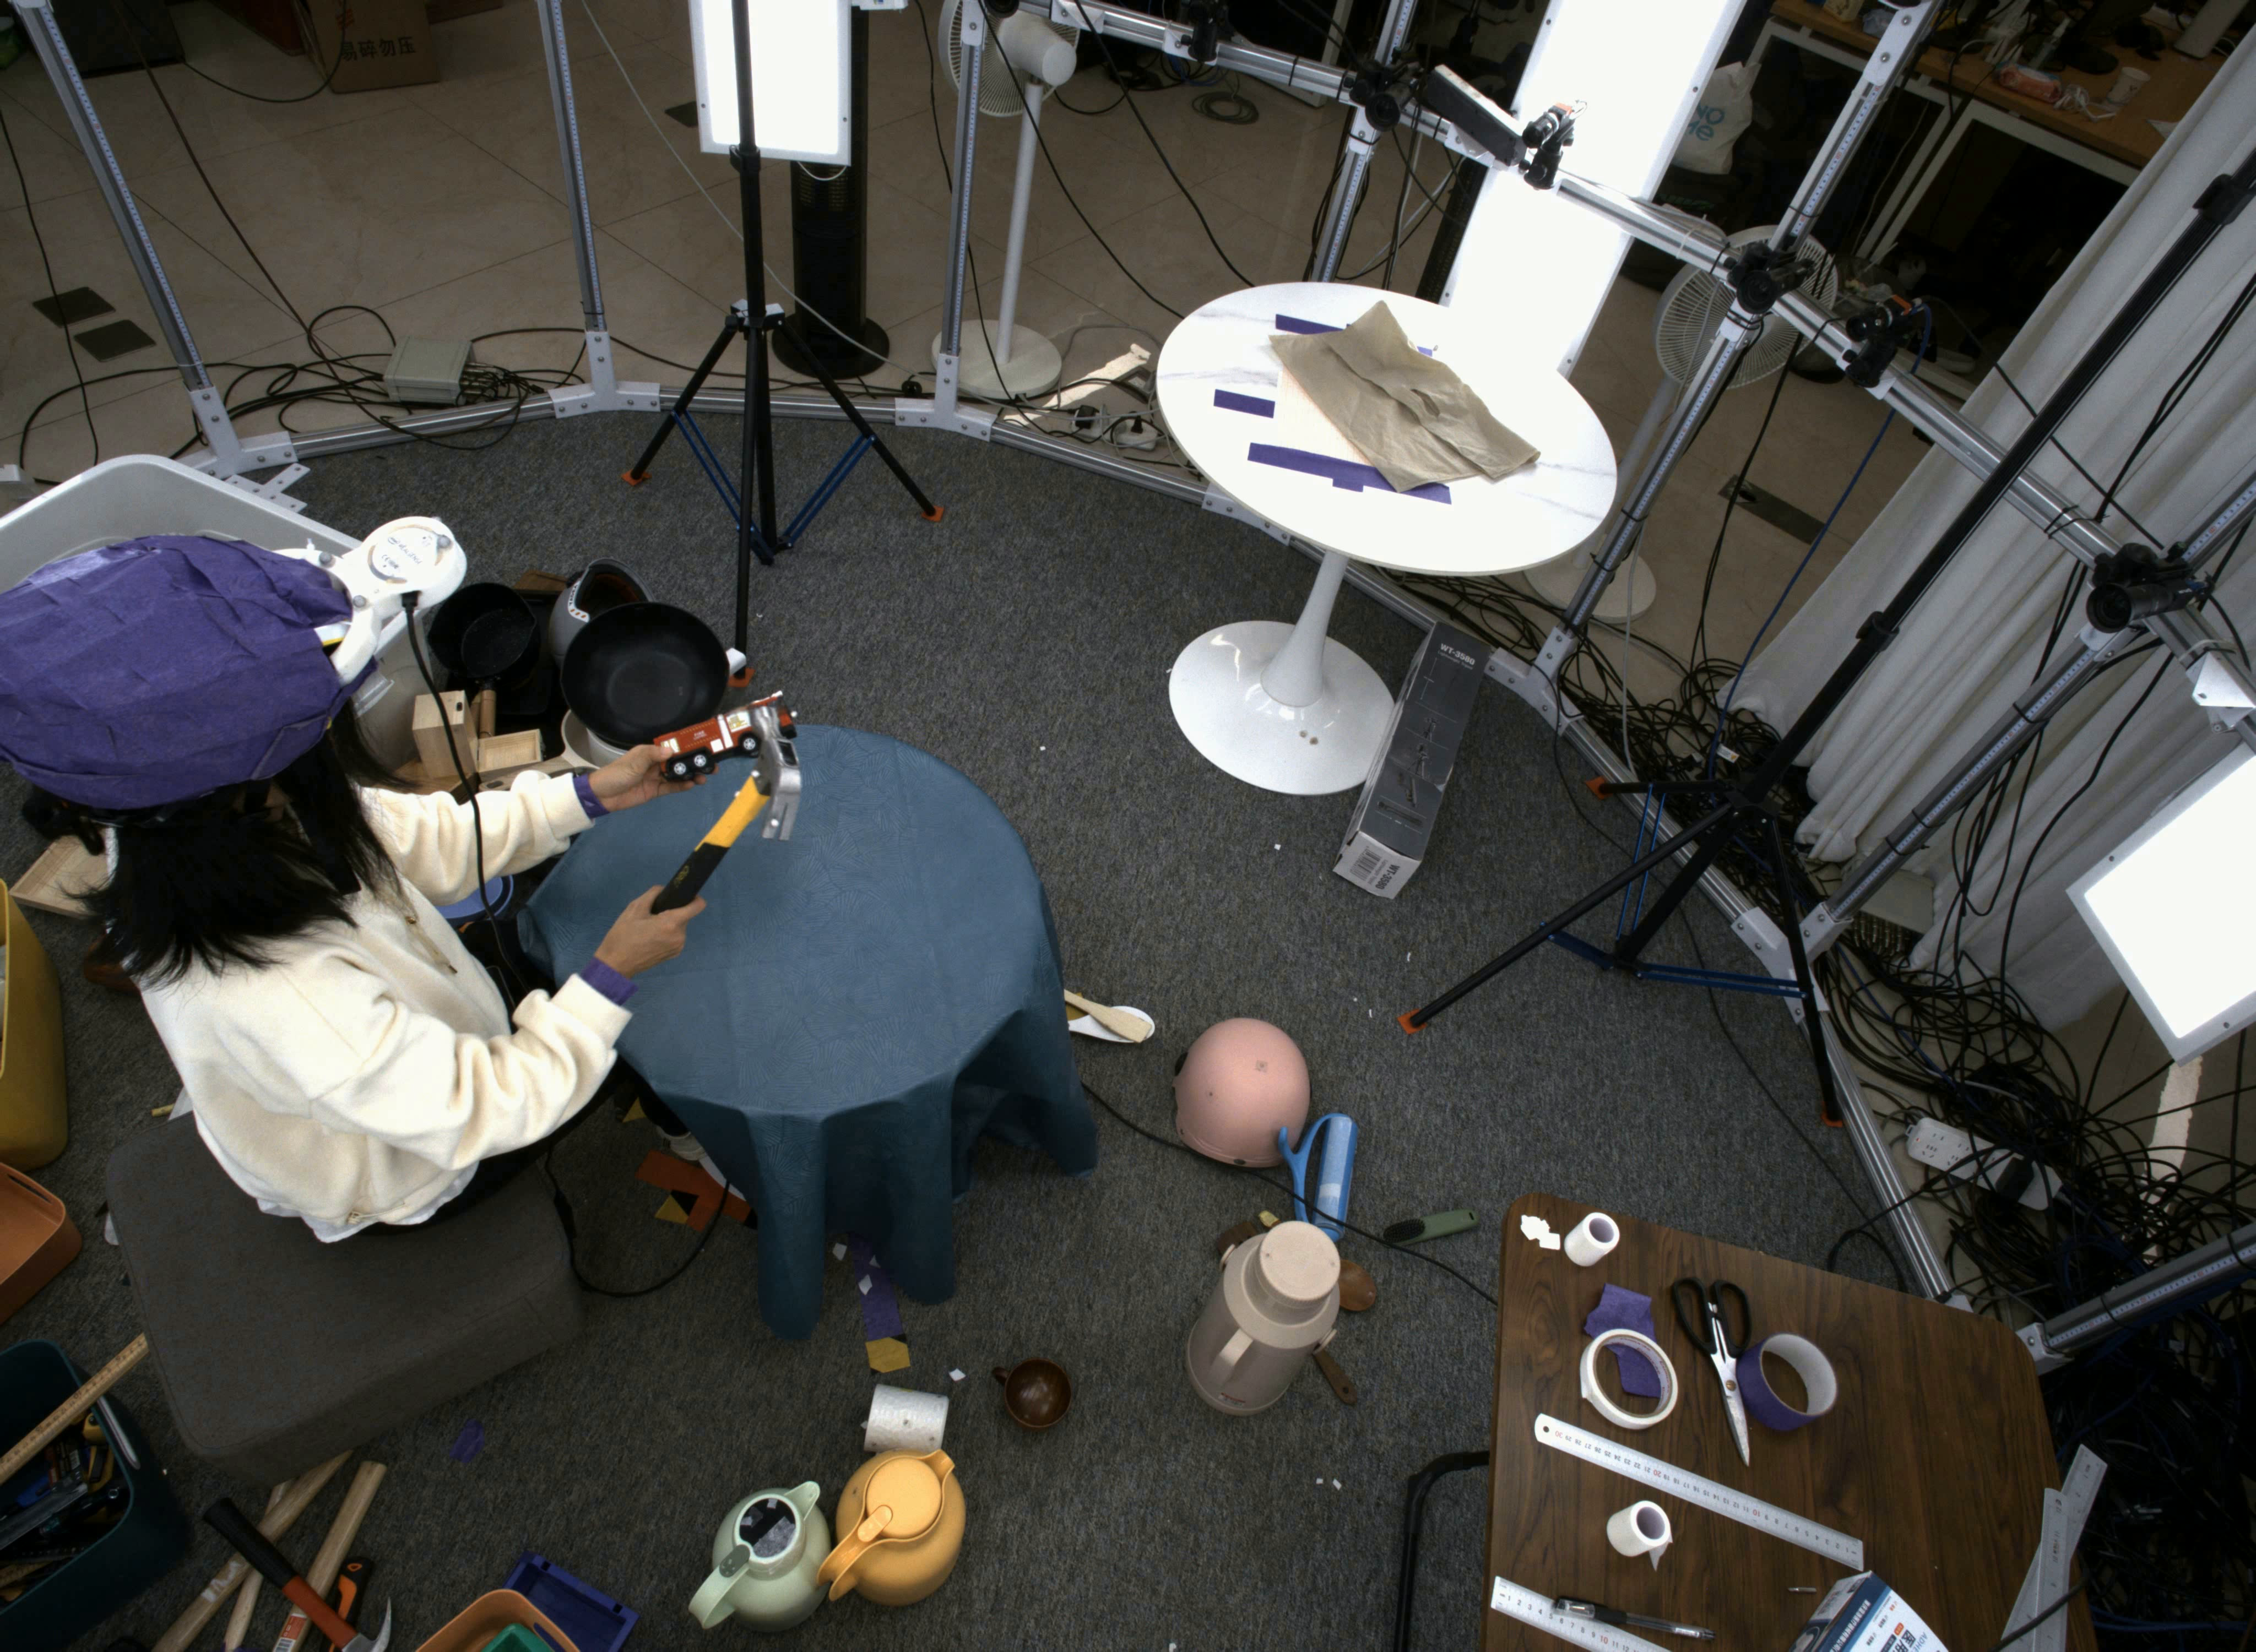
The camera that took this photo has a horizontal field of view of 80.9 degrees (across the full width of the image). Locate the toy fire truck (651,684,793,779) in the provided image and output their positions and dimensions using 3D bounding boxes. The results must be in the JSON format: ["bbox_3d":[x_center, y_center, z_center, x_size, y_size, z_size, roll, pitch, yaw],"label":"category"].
[{"bbox_3d":[-0.481,-0.108,1.528,0.167,0.054,0.070,-22,85,-12],"label":"toy fire truck"}]

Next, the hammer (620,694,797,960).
[{"bbox_3d":[-0.440,0.025,1.323,0.033,0.338,0.128,9,45,-50],"label":"hammer"}]
